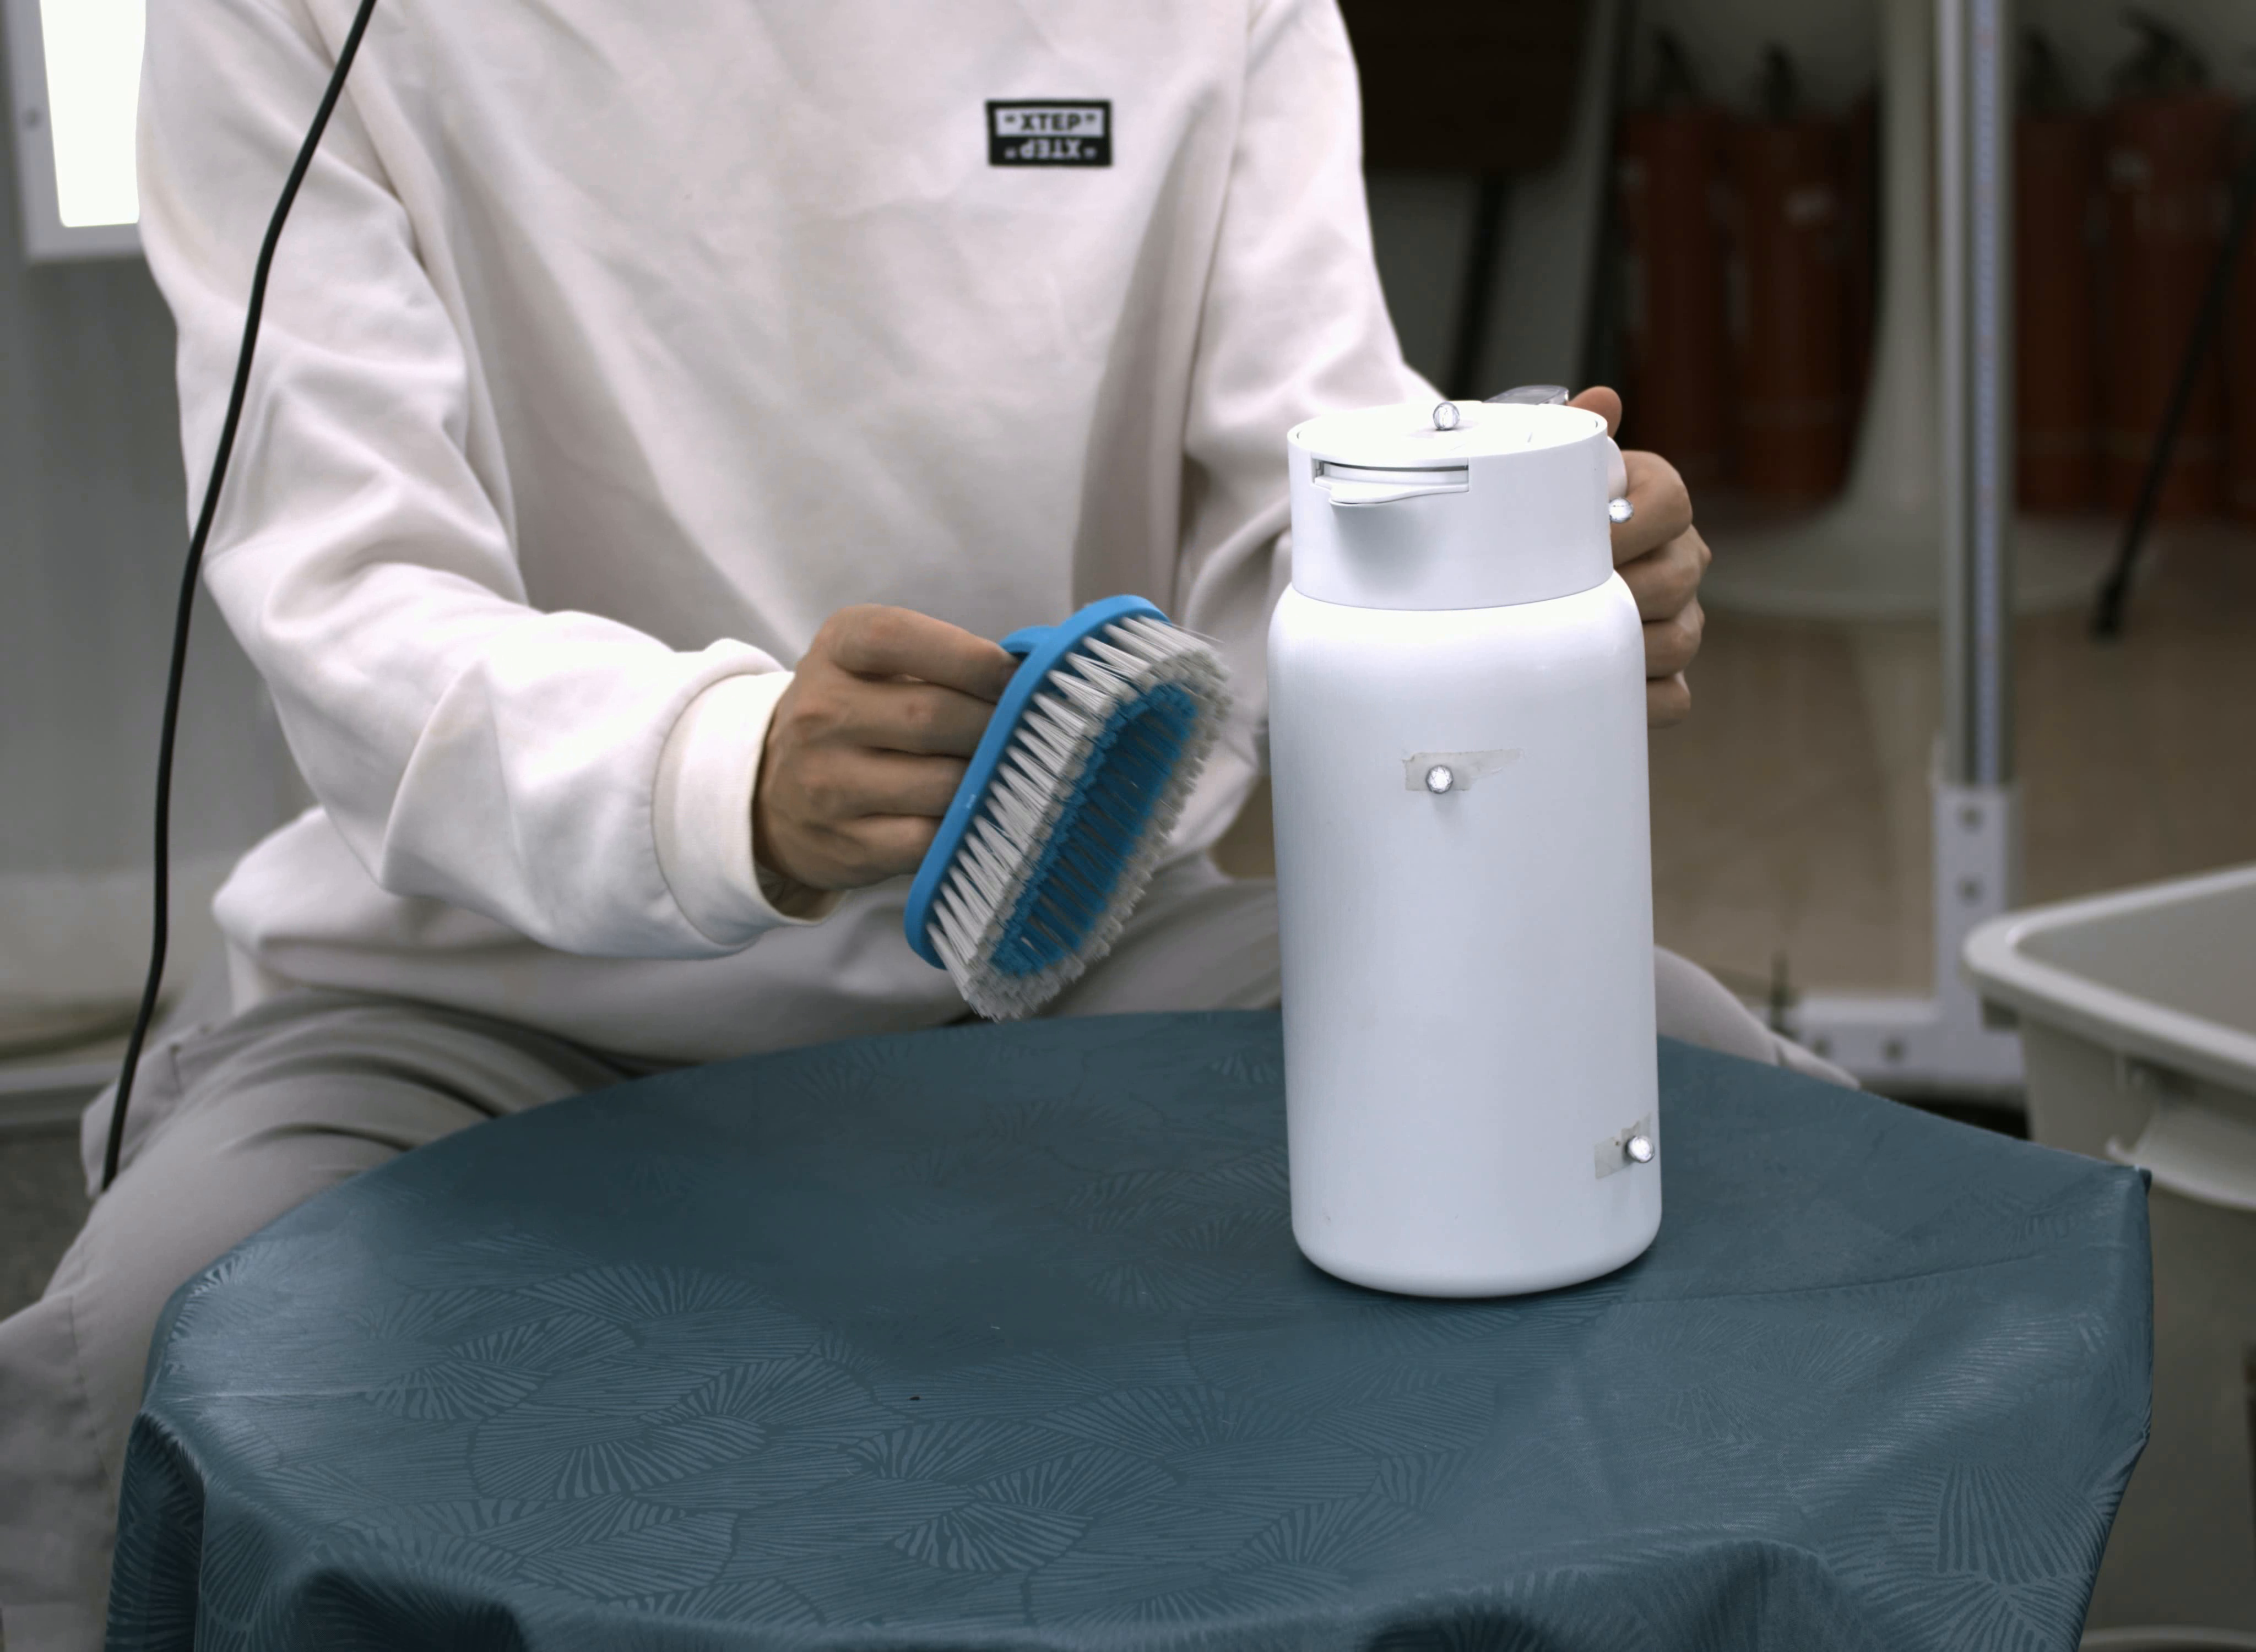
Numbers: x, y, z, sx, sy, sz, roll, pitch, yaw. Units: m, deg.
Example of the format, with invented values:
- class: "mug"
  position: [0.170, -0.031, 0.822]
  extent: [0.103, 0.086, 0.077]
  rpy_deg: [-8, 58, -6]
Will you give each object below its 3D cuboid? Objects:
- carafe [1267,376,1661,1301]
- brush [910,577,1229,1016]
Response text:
- class: "carafe"
  position: [0.110, 0.000, 1.678]
  extent: [0.124, 0.272, 0.170]
  rpy_deg: [2, 13, 29]
- class: "brush"
  position: [-0.028, -0.016, 1.647]
  extent: [0.064, 0.143, 0.083]
  rpy_deg: [37, 28, 26]
